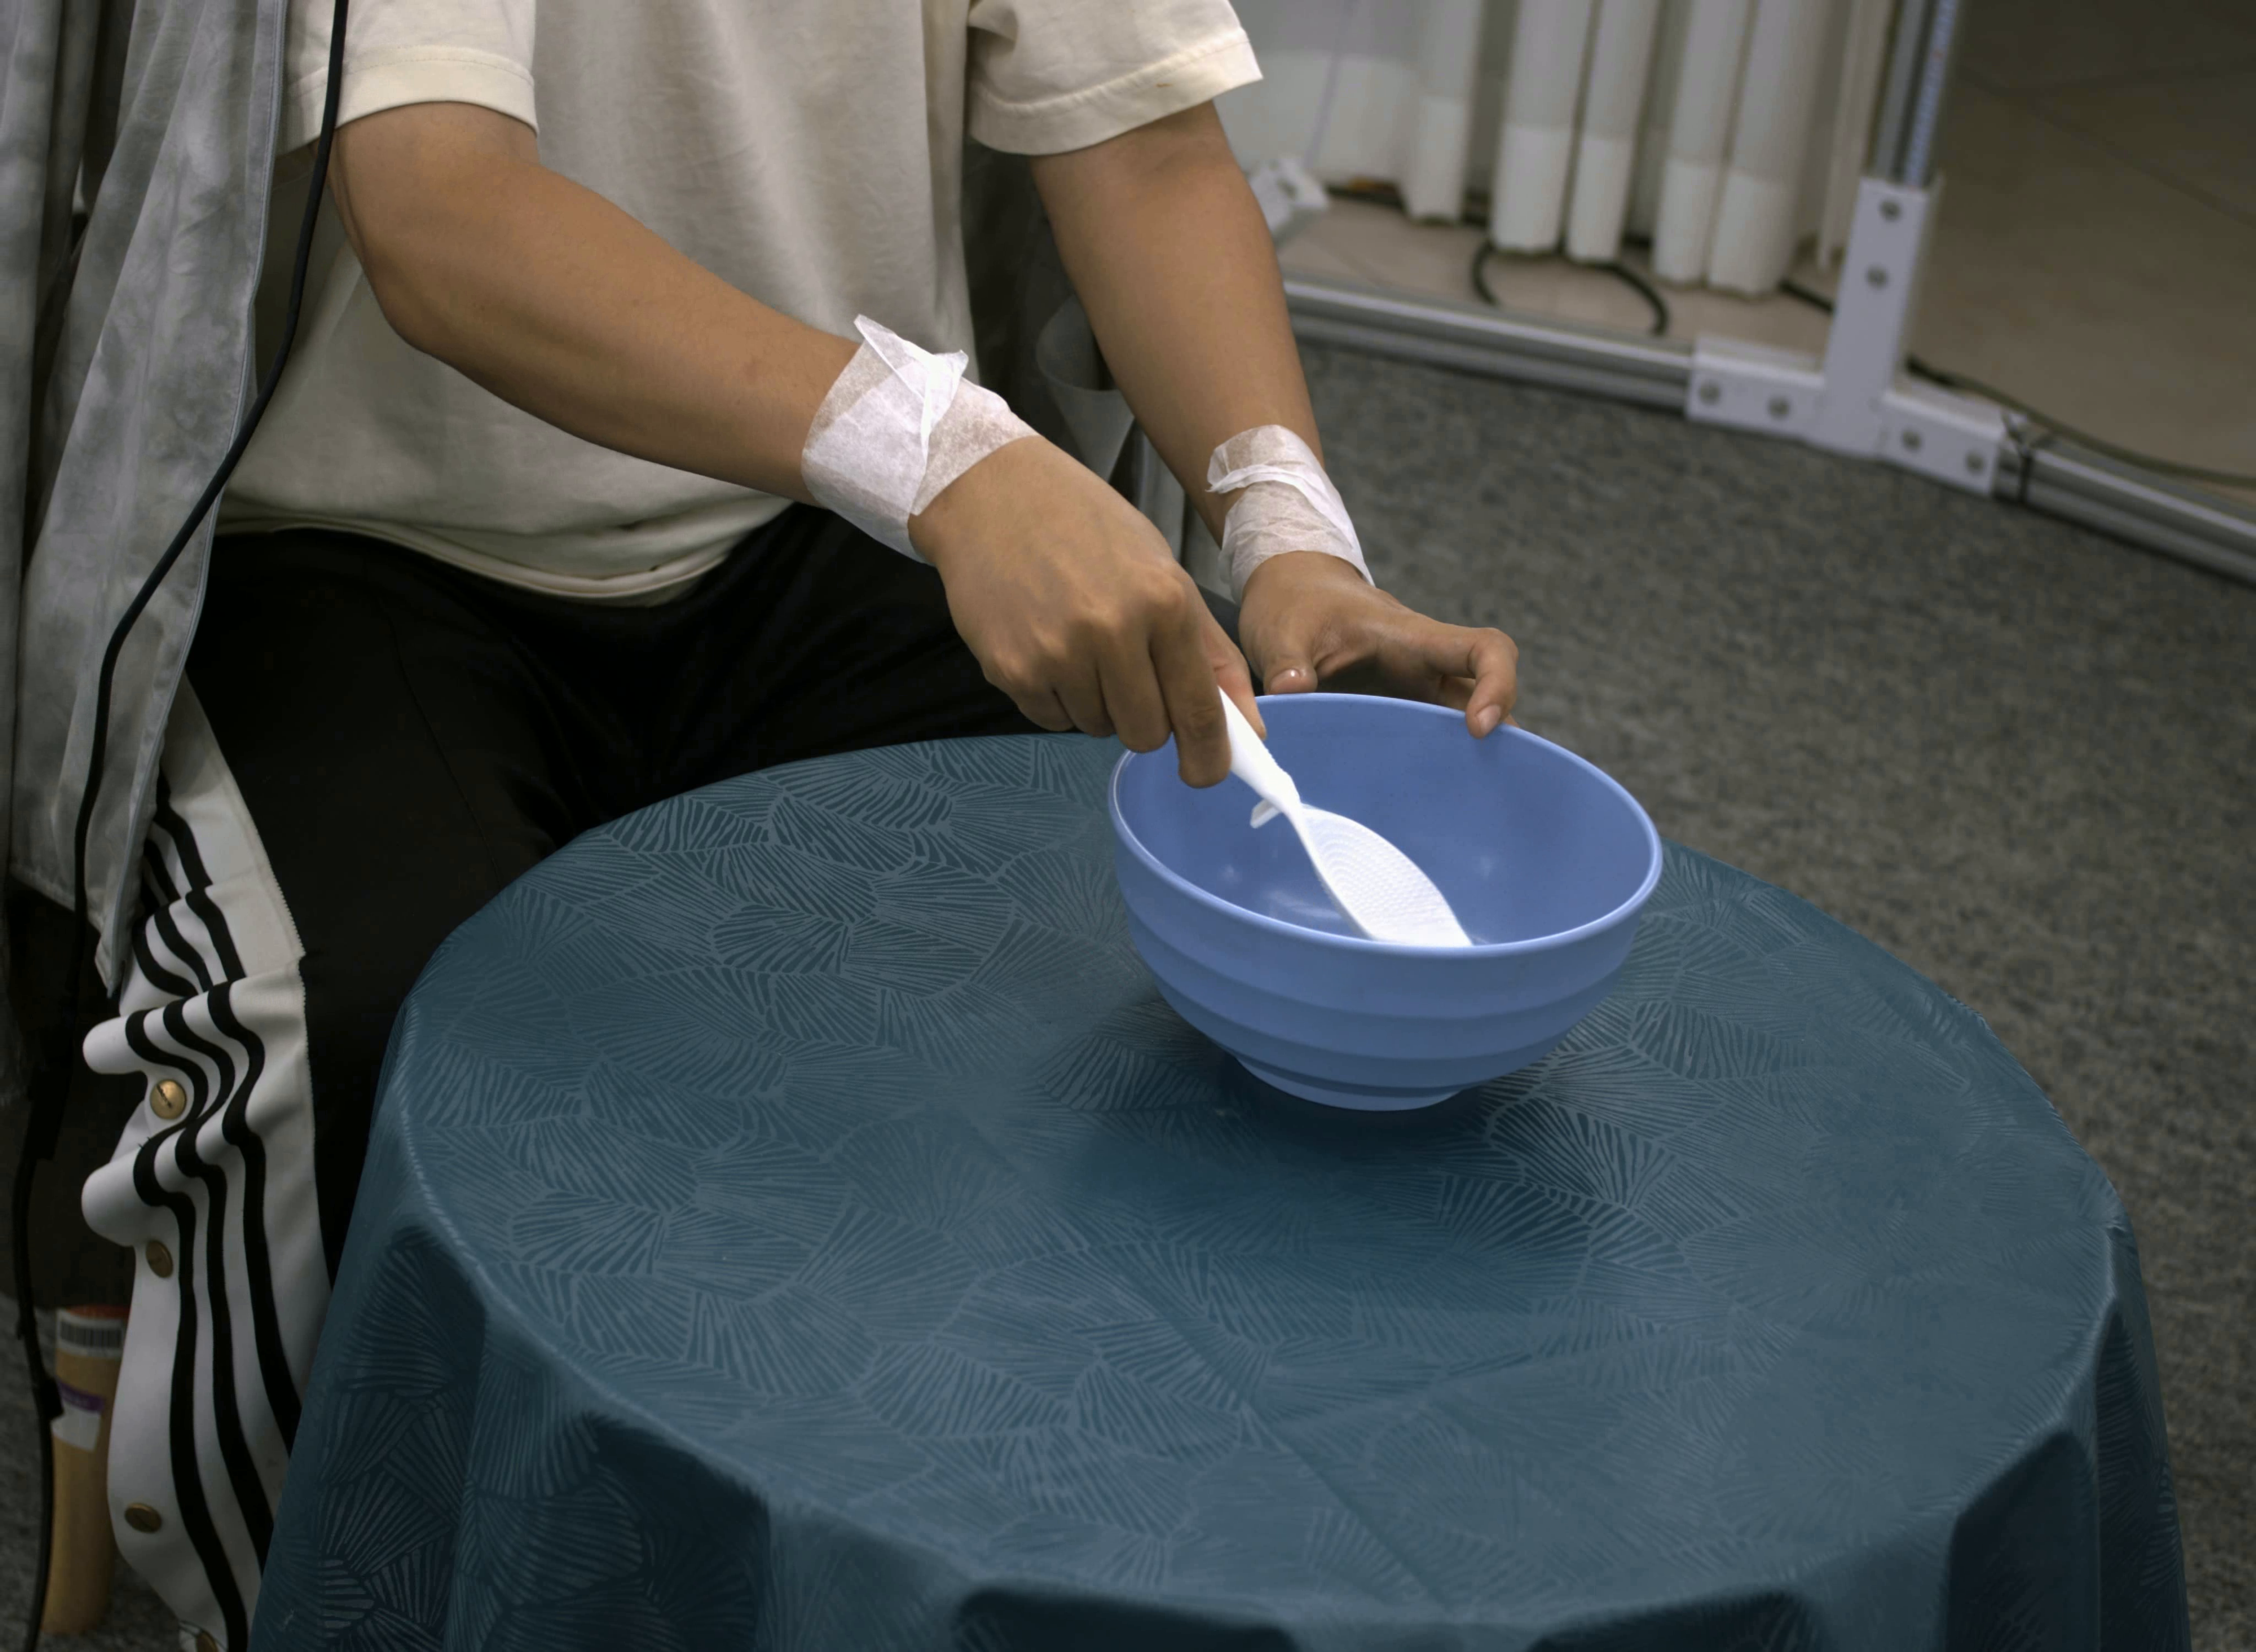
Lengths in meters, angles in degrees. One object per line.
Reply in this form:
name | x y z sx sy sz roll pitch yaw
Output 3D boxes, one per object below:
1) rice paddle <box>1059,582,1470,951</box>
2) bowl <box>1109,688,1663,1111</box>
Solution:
rice paddle | 0.057 -0.008 1.870 0.204 0.029 0.069 43 29 -17
bowl | 0.086 0.037 1.889 0.196 0.095 0.198 5 29 -3
